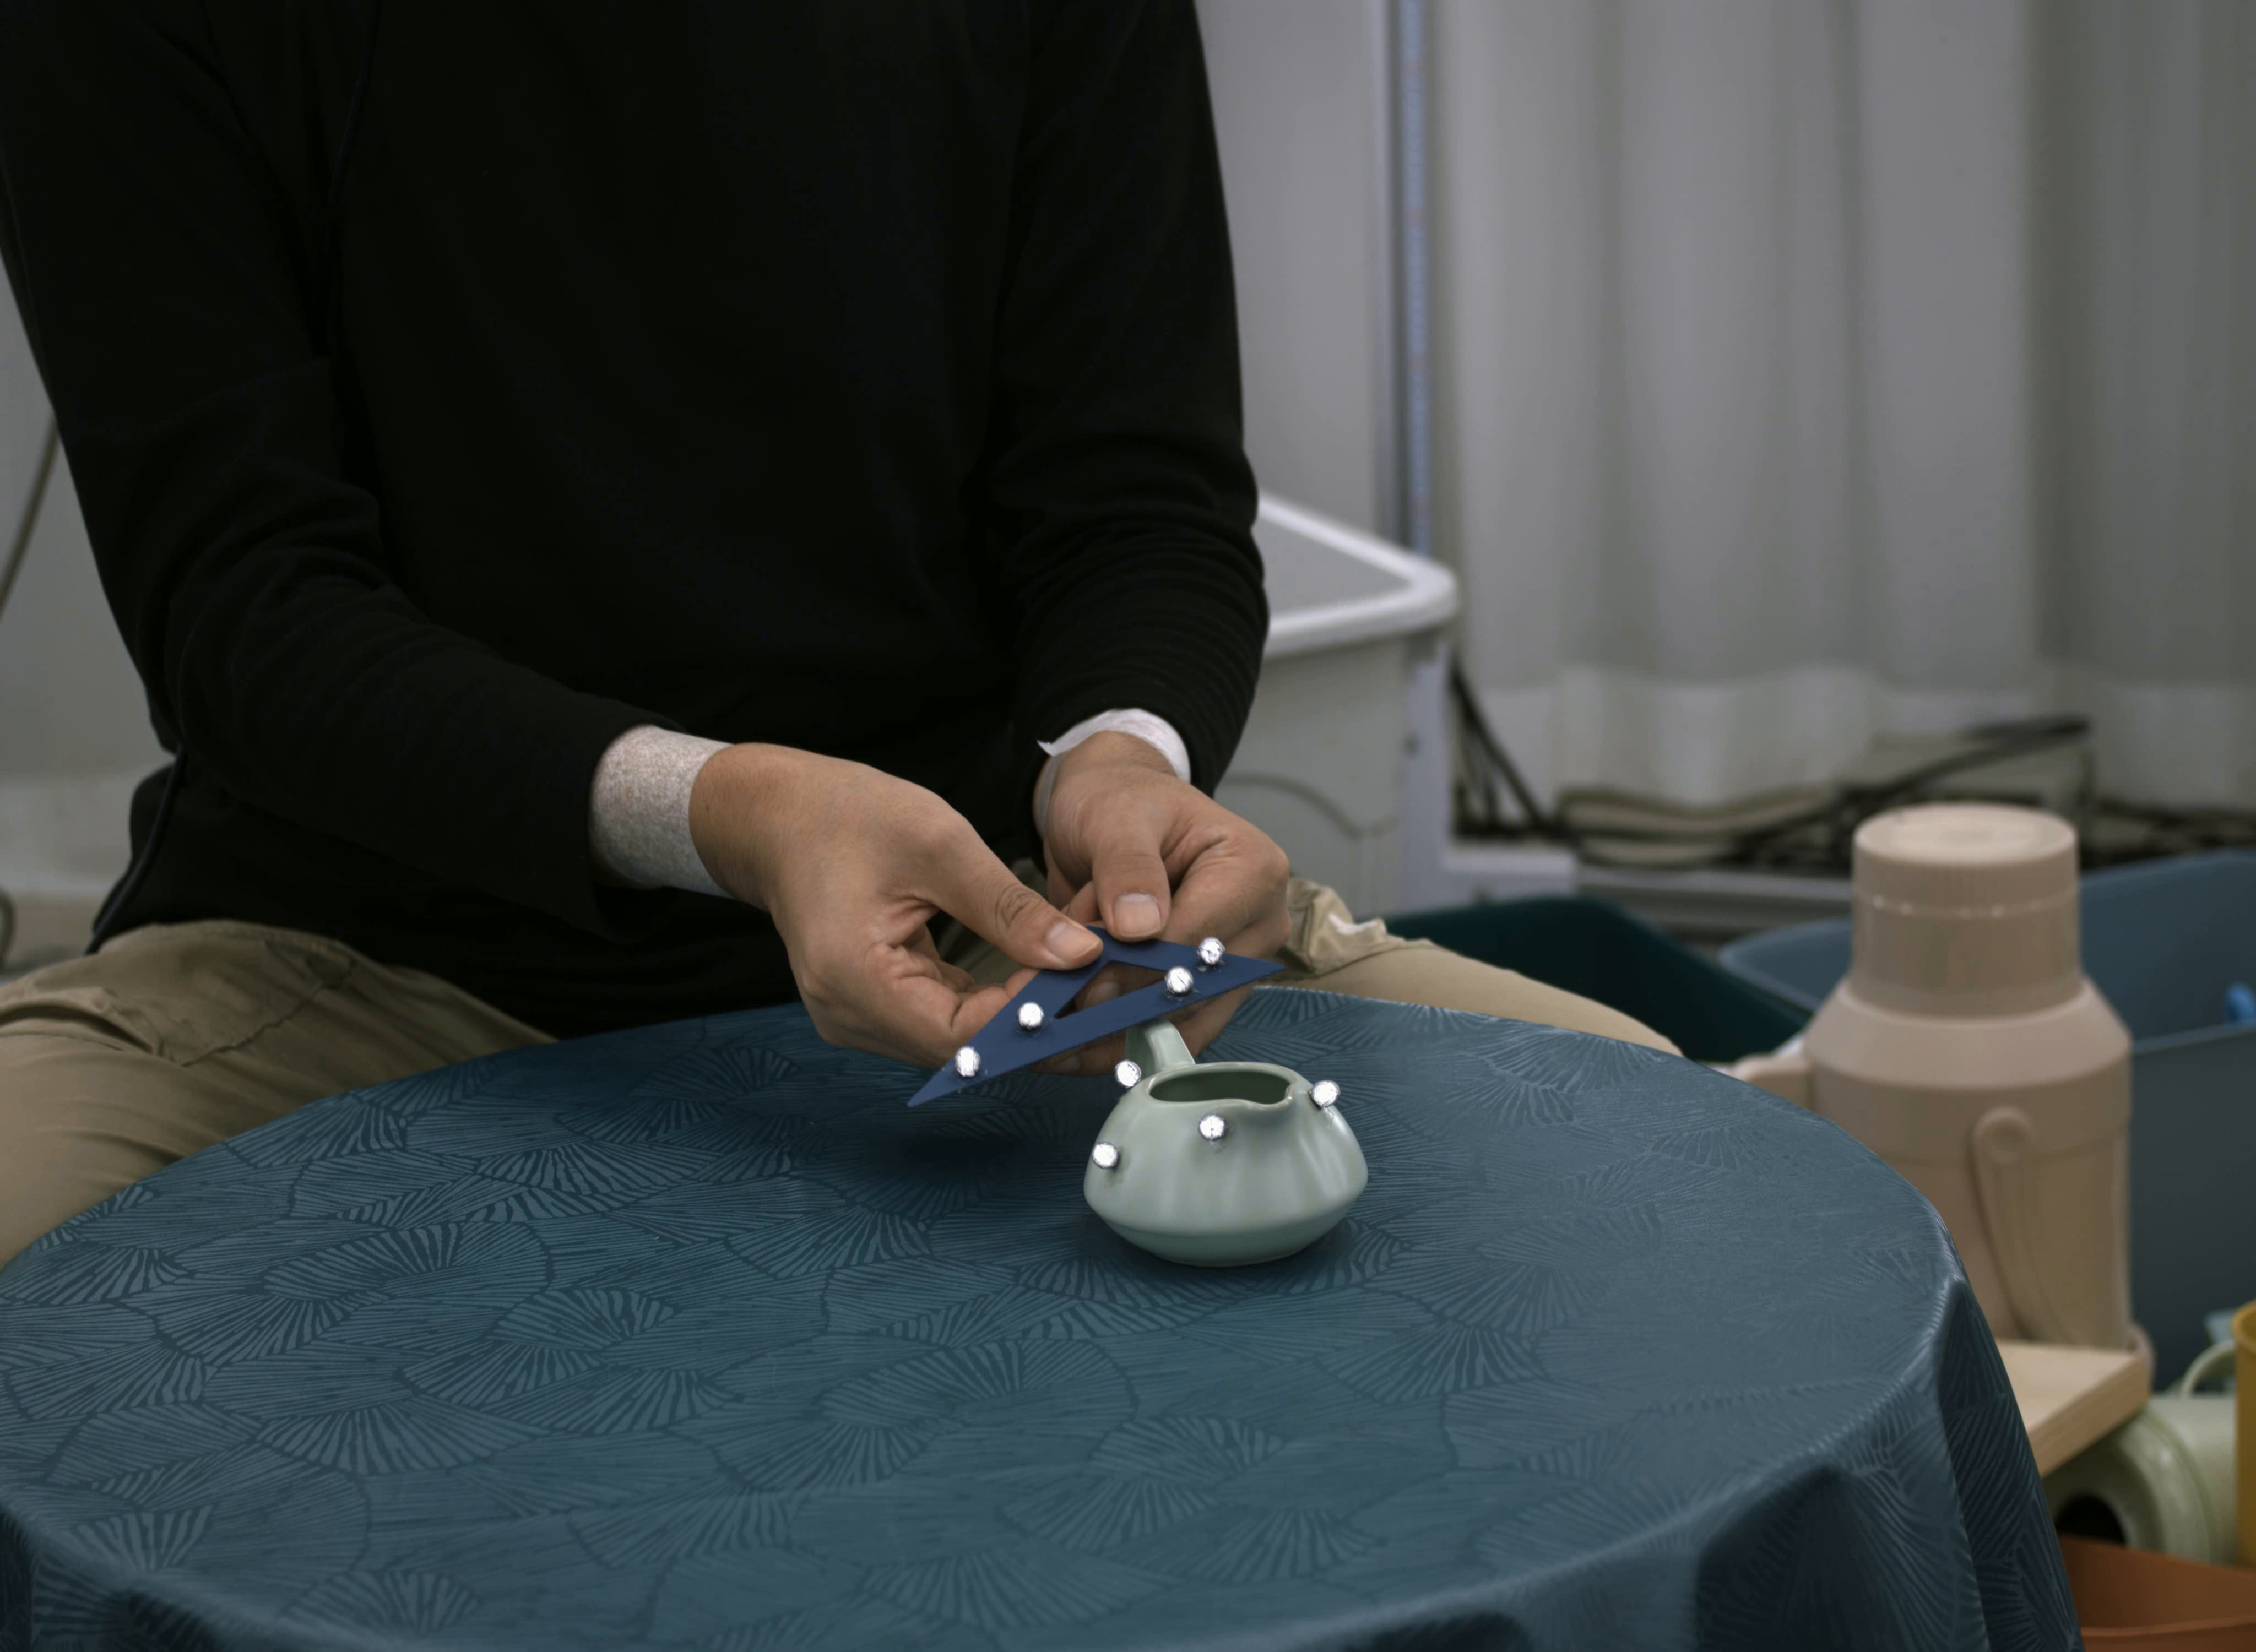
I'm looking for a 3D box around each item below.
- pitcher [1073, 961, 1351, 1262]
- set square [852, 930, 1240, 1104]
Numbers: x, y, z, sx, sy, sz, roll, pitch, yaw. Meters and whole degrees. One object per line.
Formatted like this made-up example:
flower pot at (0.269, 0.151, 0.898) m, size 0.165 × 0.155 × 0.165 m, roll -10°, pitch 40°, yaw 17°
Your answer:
pitcher at (0.022, 0.089, 1.675) m, size 0.086 × 0.060 × 0.109 m, roll -14°, pitch 33°, yaw -3°
set square at (-0.035, 0.055, 1.697) m, size 0.131 × 0.006 × 0.062 m, roll -18°, pitch 33°, yaw -24°
